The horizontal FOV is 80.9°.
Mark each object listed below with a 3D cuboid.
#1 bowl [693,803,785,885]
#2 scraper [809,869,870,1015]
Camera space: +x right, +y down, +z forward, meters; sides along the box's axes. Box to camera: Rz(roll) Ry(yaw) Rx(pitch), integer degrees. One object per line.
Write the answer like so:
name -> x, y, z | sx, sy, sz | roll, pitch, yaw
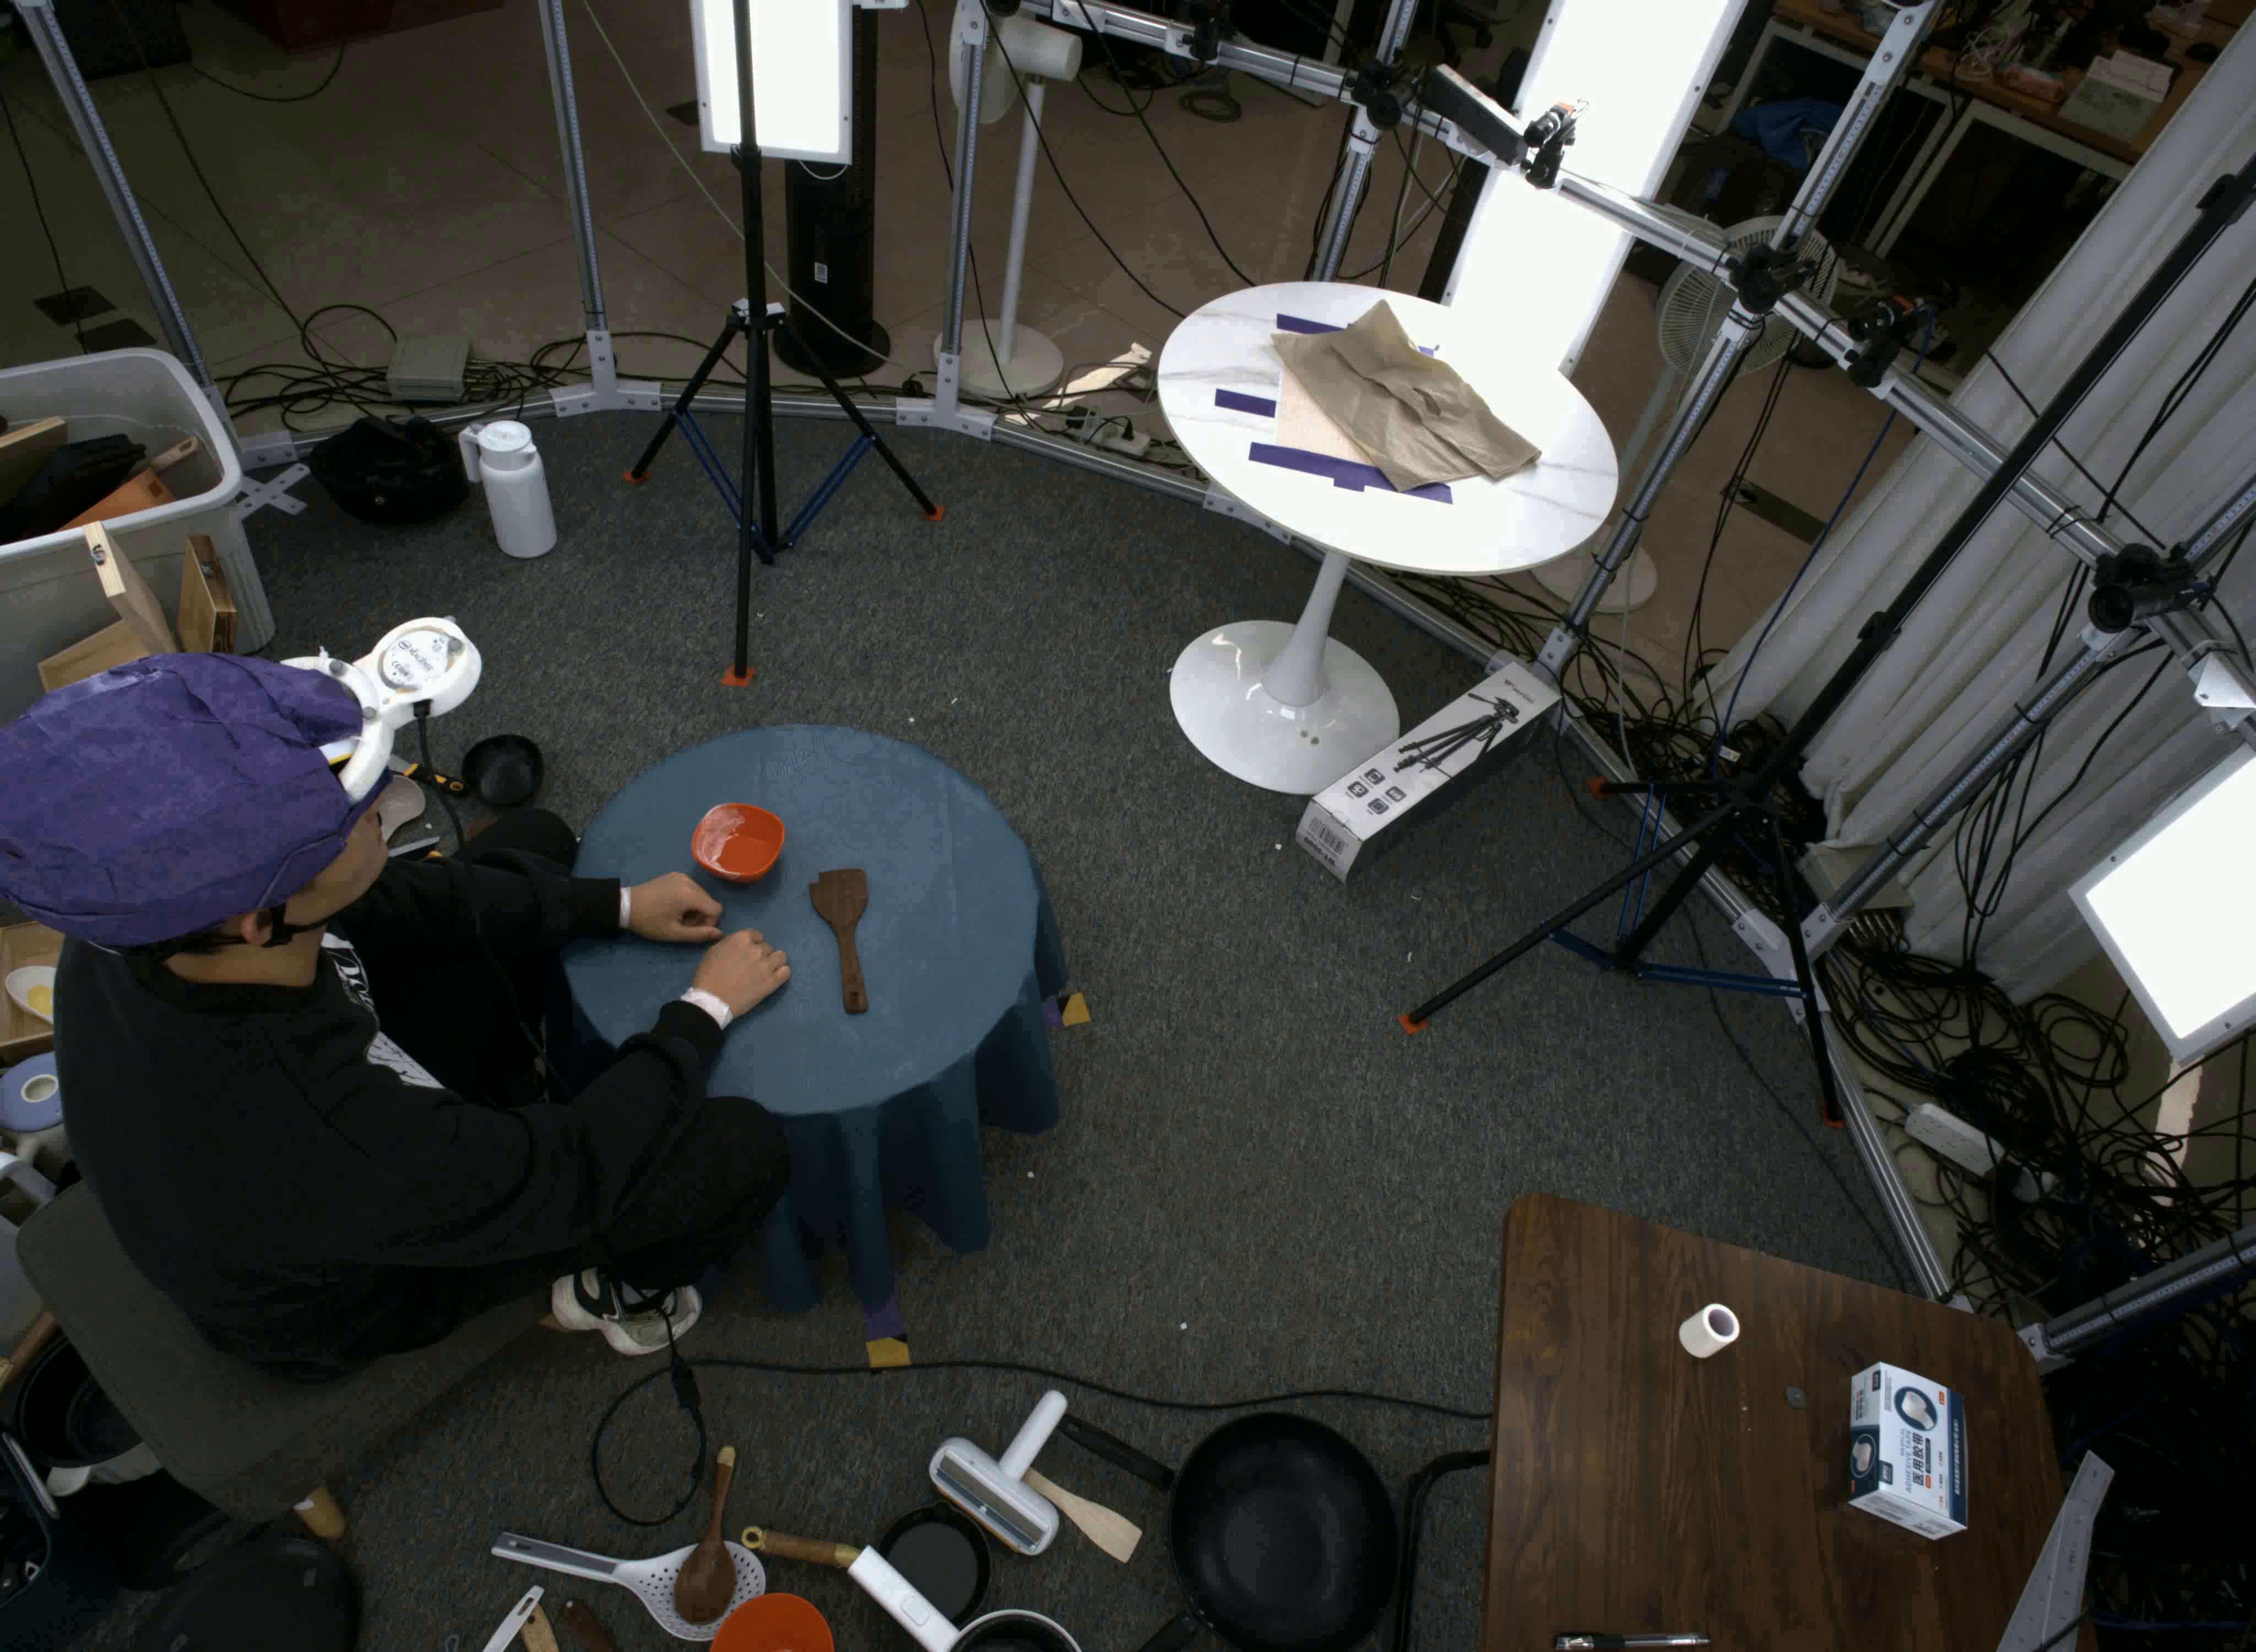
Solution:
bowl -> -0.497, 0.030, 1.656 | 0.119, 0.052, 0.117 | 9, 51, -10
scraper -> -0.354, 0.142, 1.636 | 0.076, 0.011, 0.206 | -6, 56, -17
